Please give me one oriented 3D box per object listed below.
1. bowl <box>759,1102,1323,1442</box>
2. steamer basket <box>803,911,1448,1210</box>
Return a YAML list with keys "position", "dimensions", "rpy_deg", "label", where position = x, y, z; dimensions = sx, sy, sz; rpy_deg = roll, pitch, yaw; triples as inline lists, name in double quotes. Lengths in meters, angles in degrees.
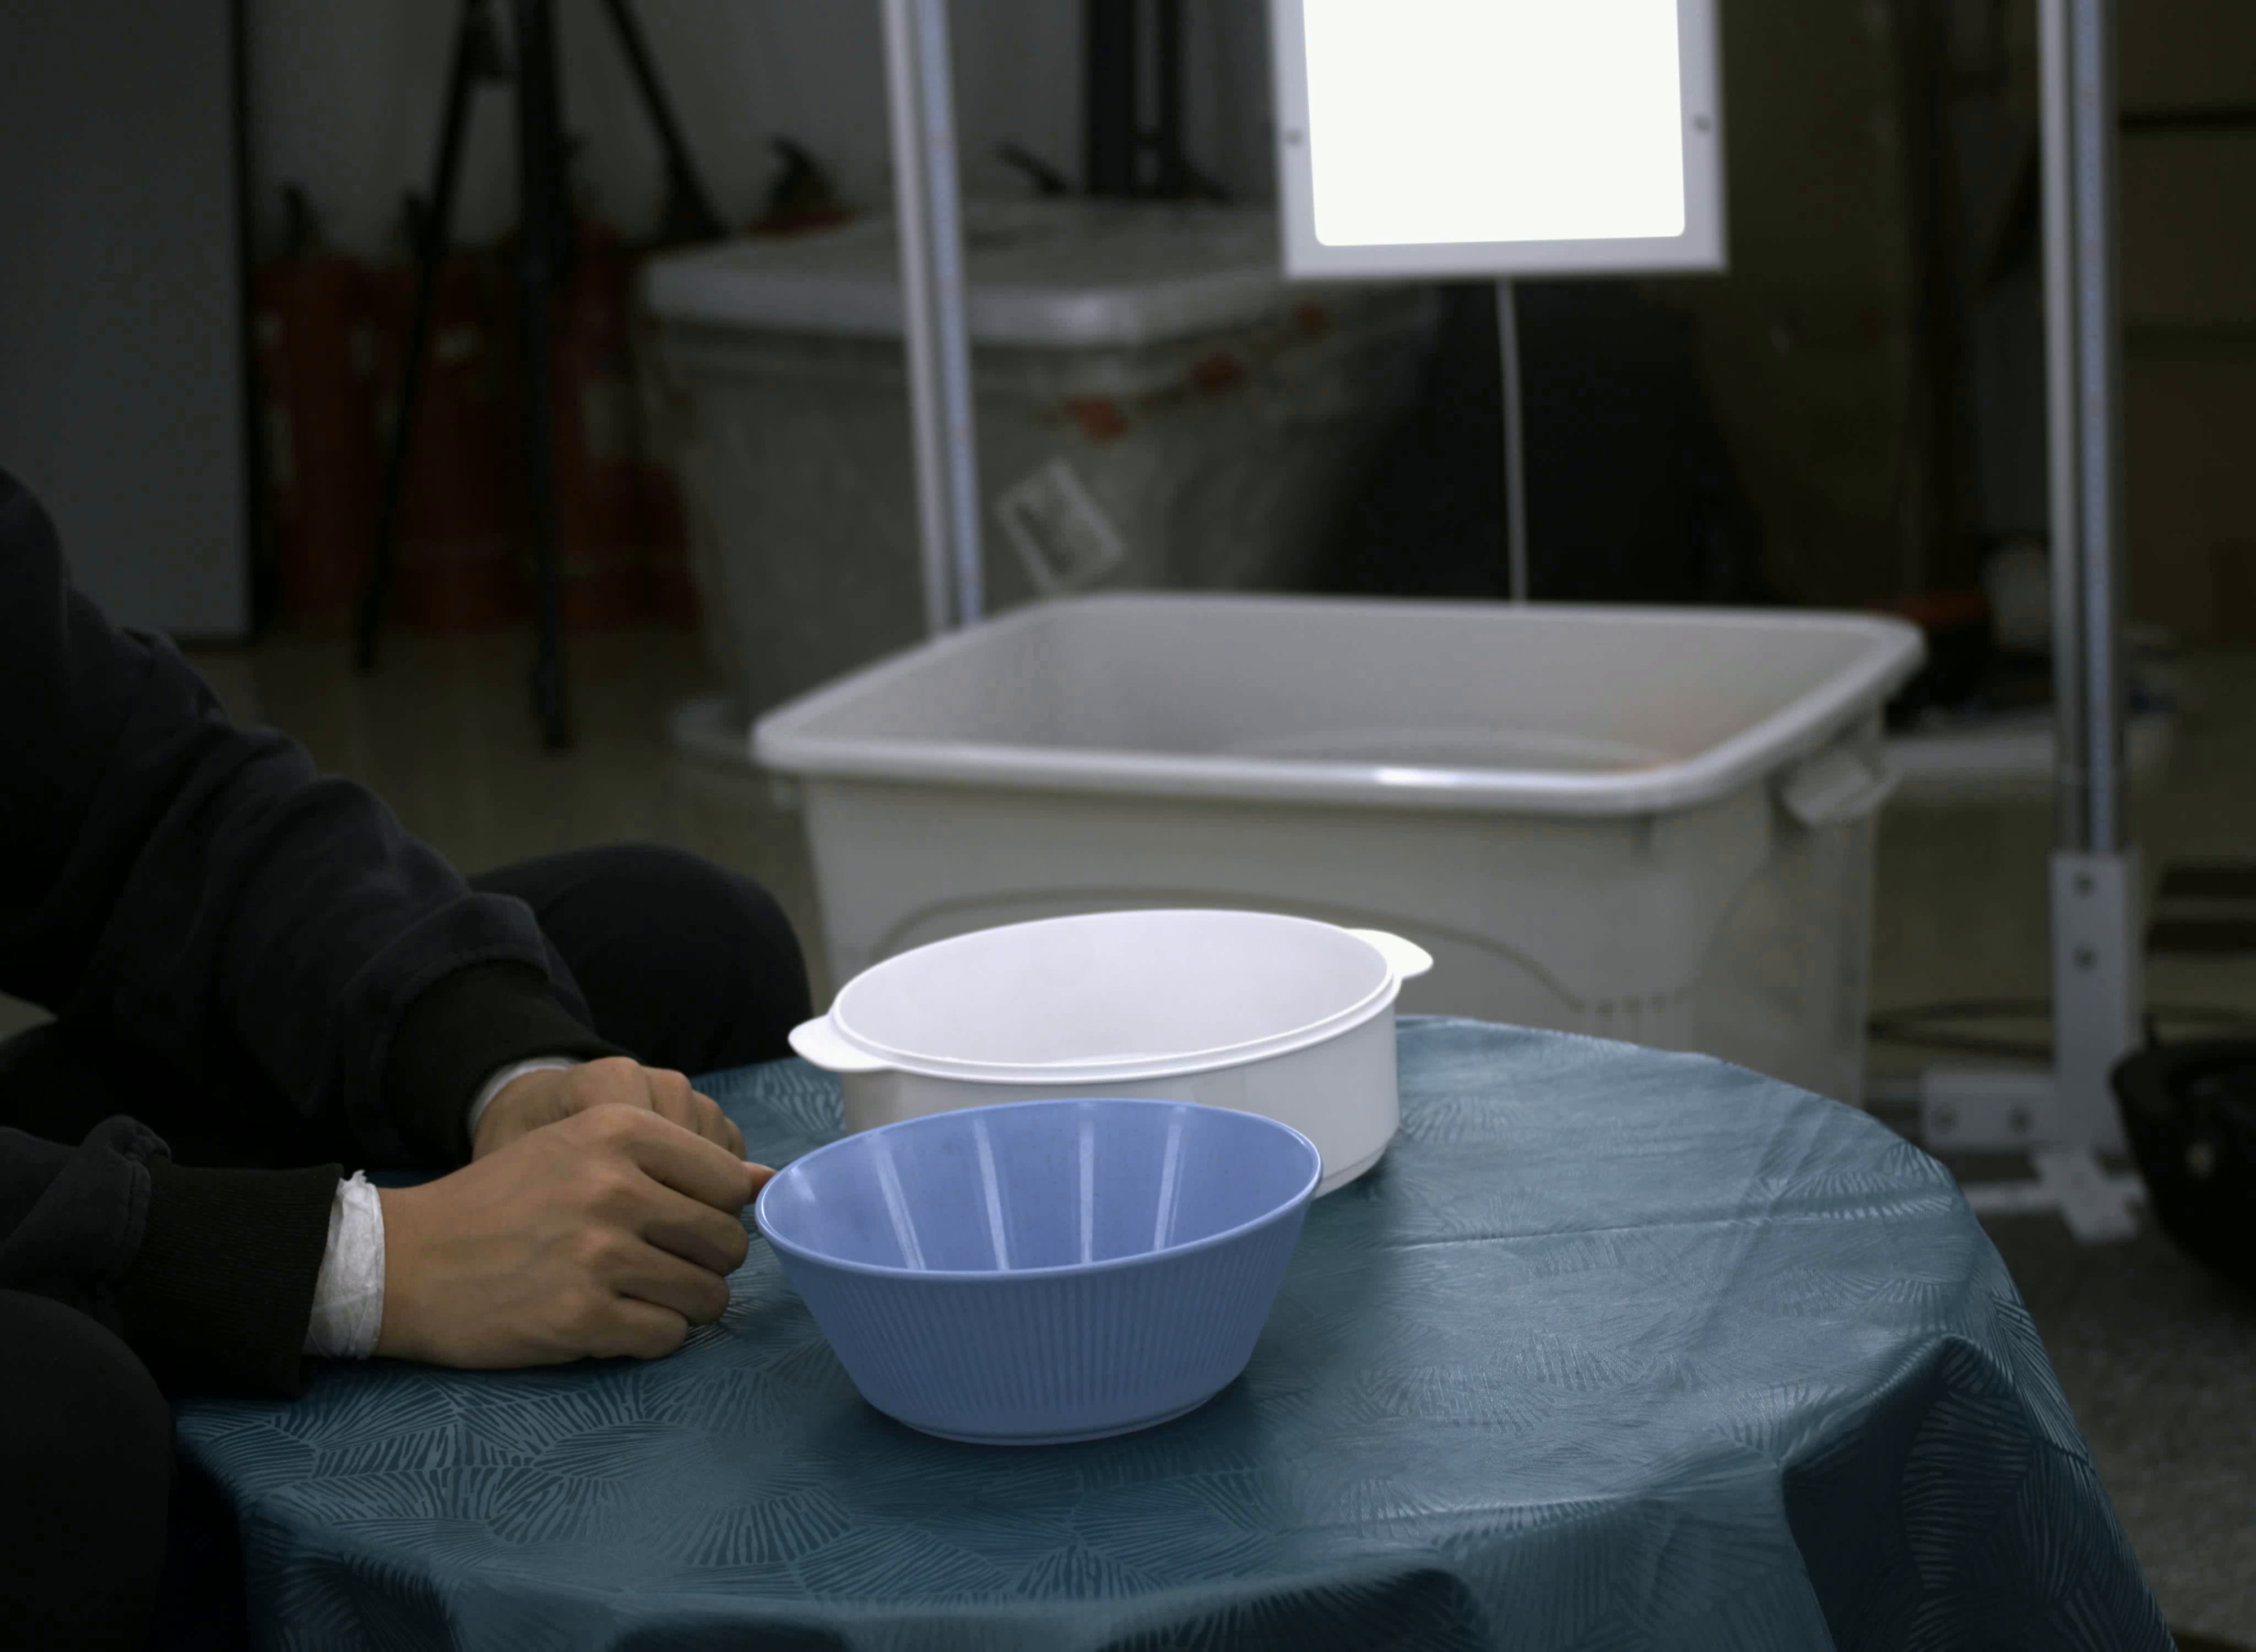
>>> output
- position: [-0.024, 0.140, 1.701]
  dimensions: [0.175, 0.070, 0.176]
  rpy_deg: [-5, 13, 0]
  label: "bowl"
- position: [0.002, 0.085, 1.921]
  dimensions: [0.227, 0.069, 0.204]
  rpy_deg: [-7, 14, -18]
  label: "steamer basket"
